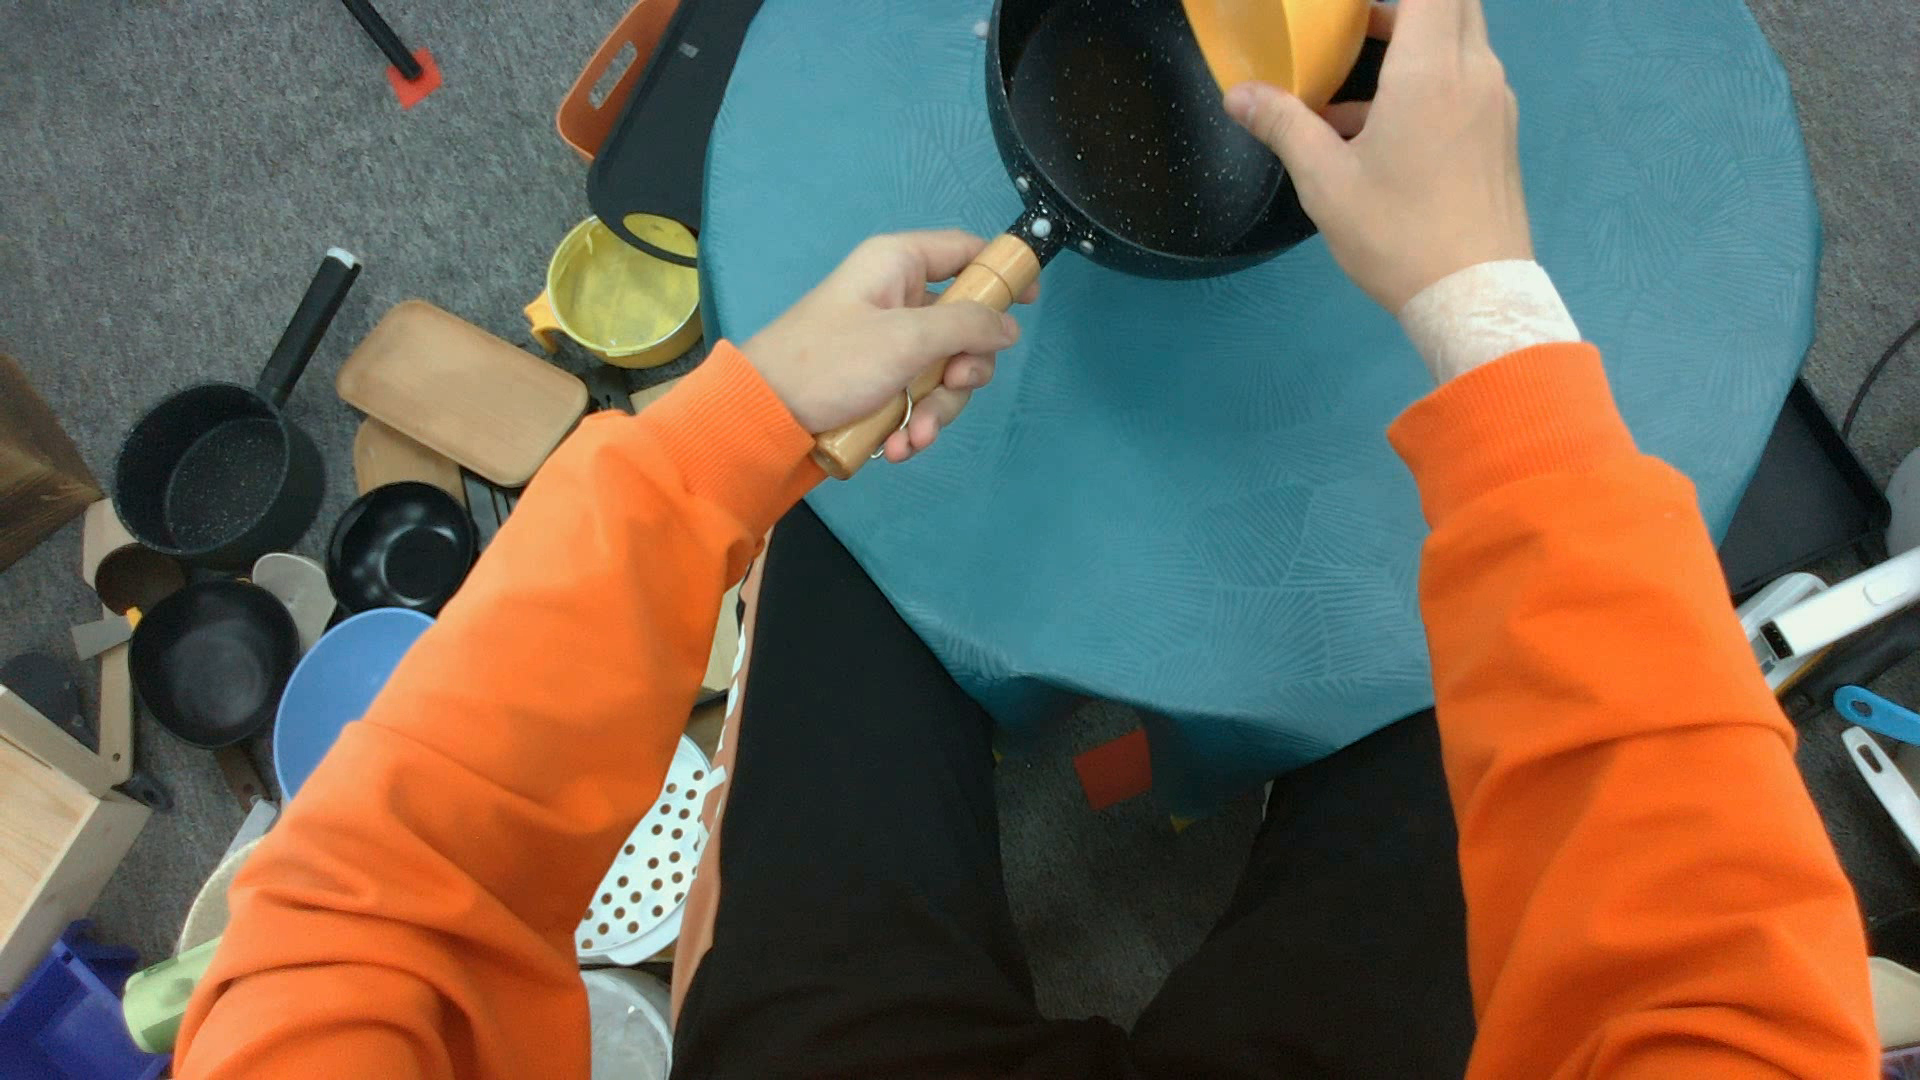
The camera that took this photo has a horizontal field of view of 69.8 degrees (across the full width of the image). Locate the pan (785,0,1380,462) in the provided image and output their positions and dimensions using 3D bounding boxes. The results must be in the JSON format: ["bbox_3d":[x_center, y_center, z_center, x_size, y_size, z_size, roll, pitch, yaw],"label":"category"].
[{"bbox_3d":[0.043,-0.157,0.624,0.207,0.108,0.343,41,79,-5],"label":"pan"}]

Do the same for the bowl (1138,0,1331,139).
[{"bbox_3d":[0.120,-0.251,0.586,0.060,0.145,0.145,-23,73,-3],"label":"bowl"}]
